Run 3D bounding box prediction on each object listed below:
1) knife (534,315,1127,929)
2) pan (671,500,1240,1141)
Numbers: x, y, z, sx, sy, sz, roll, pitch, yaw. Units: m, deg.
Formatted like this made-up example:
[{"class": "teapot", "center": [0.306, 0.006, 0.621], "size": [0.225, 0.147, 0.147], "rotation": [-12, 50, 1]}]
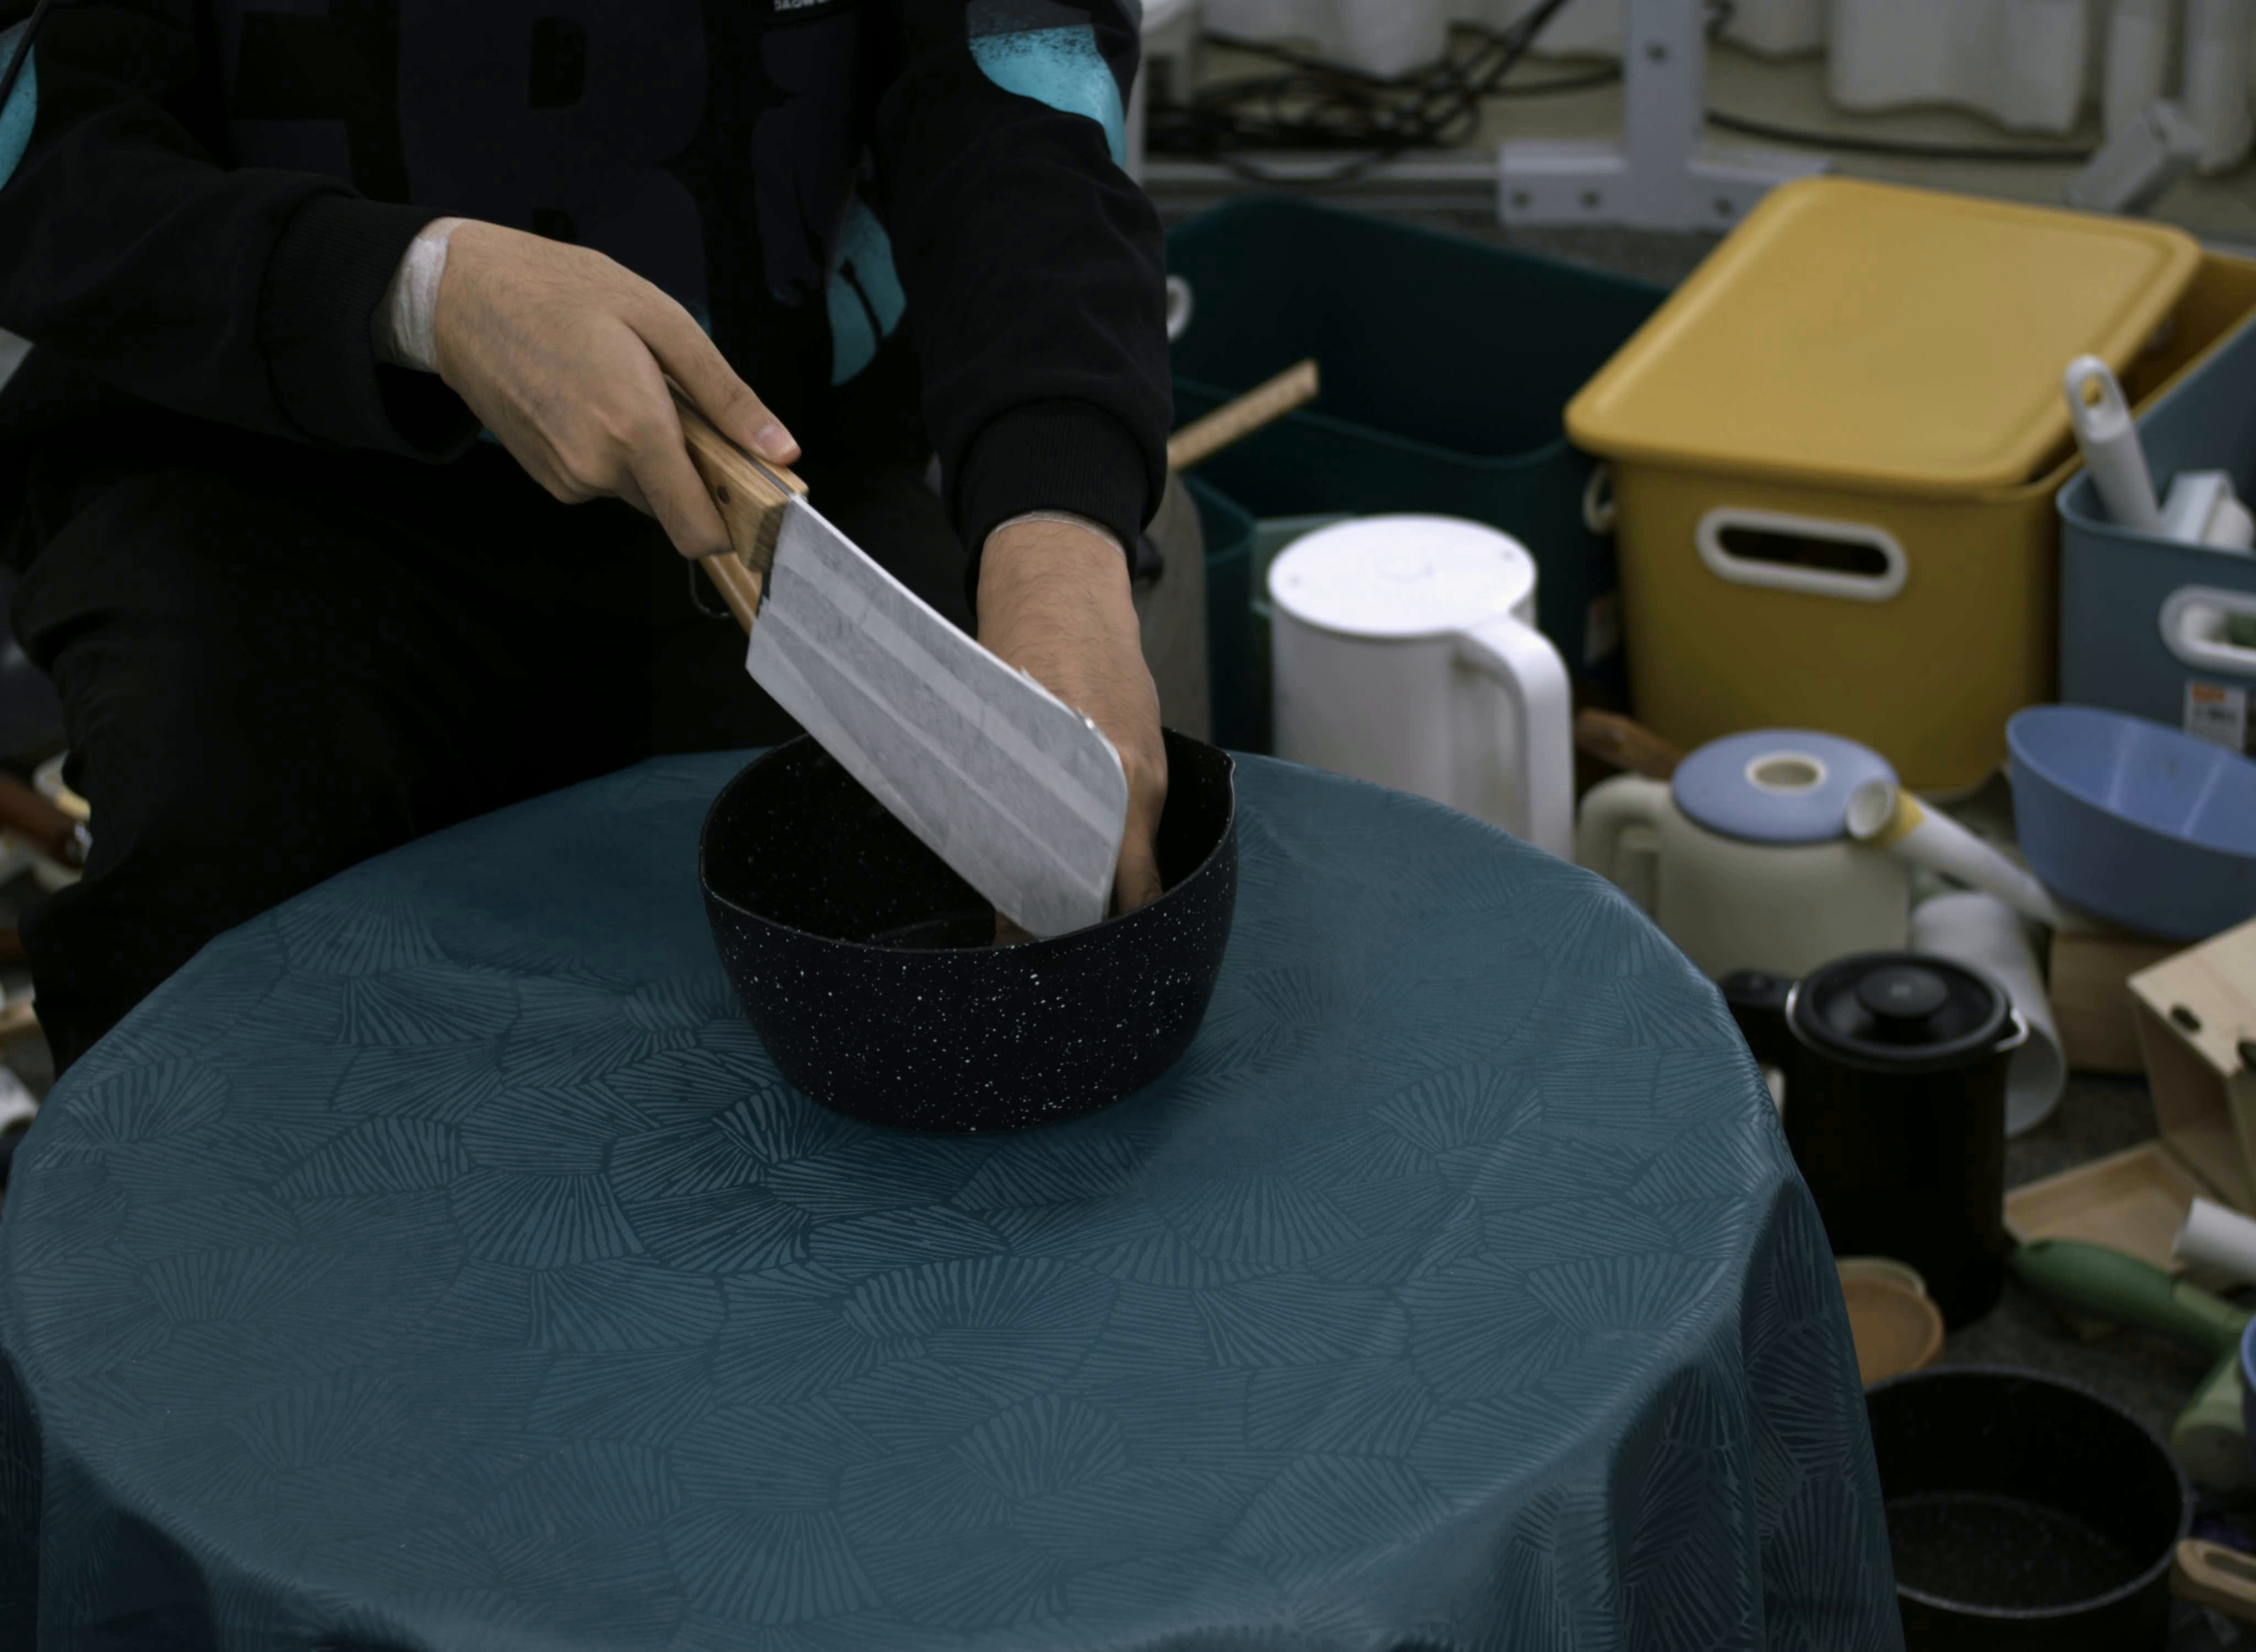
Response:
[{"class": "knife", "center": [-0.103, -0.073, 1.943], "size": [0.022, 0.112, 0.317], "rotation": [-24, 57, -38]}, {"class": "pan", "center": [-0.088, -0.008, 2.003], "size": [0.208, 0.107, 0.345], "rotation": [-16, 31, -22]}]
